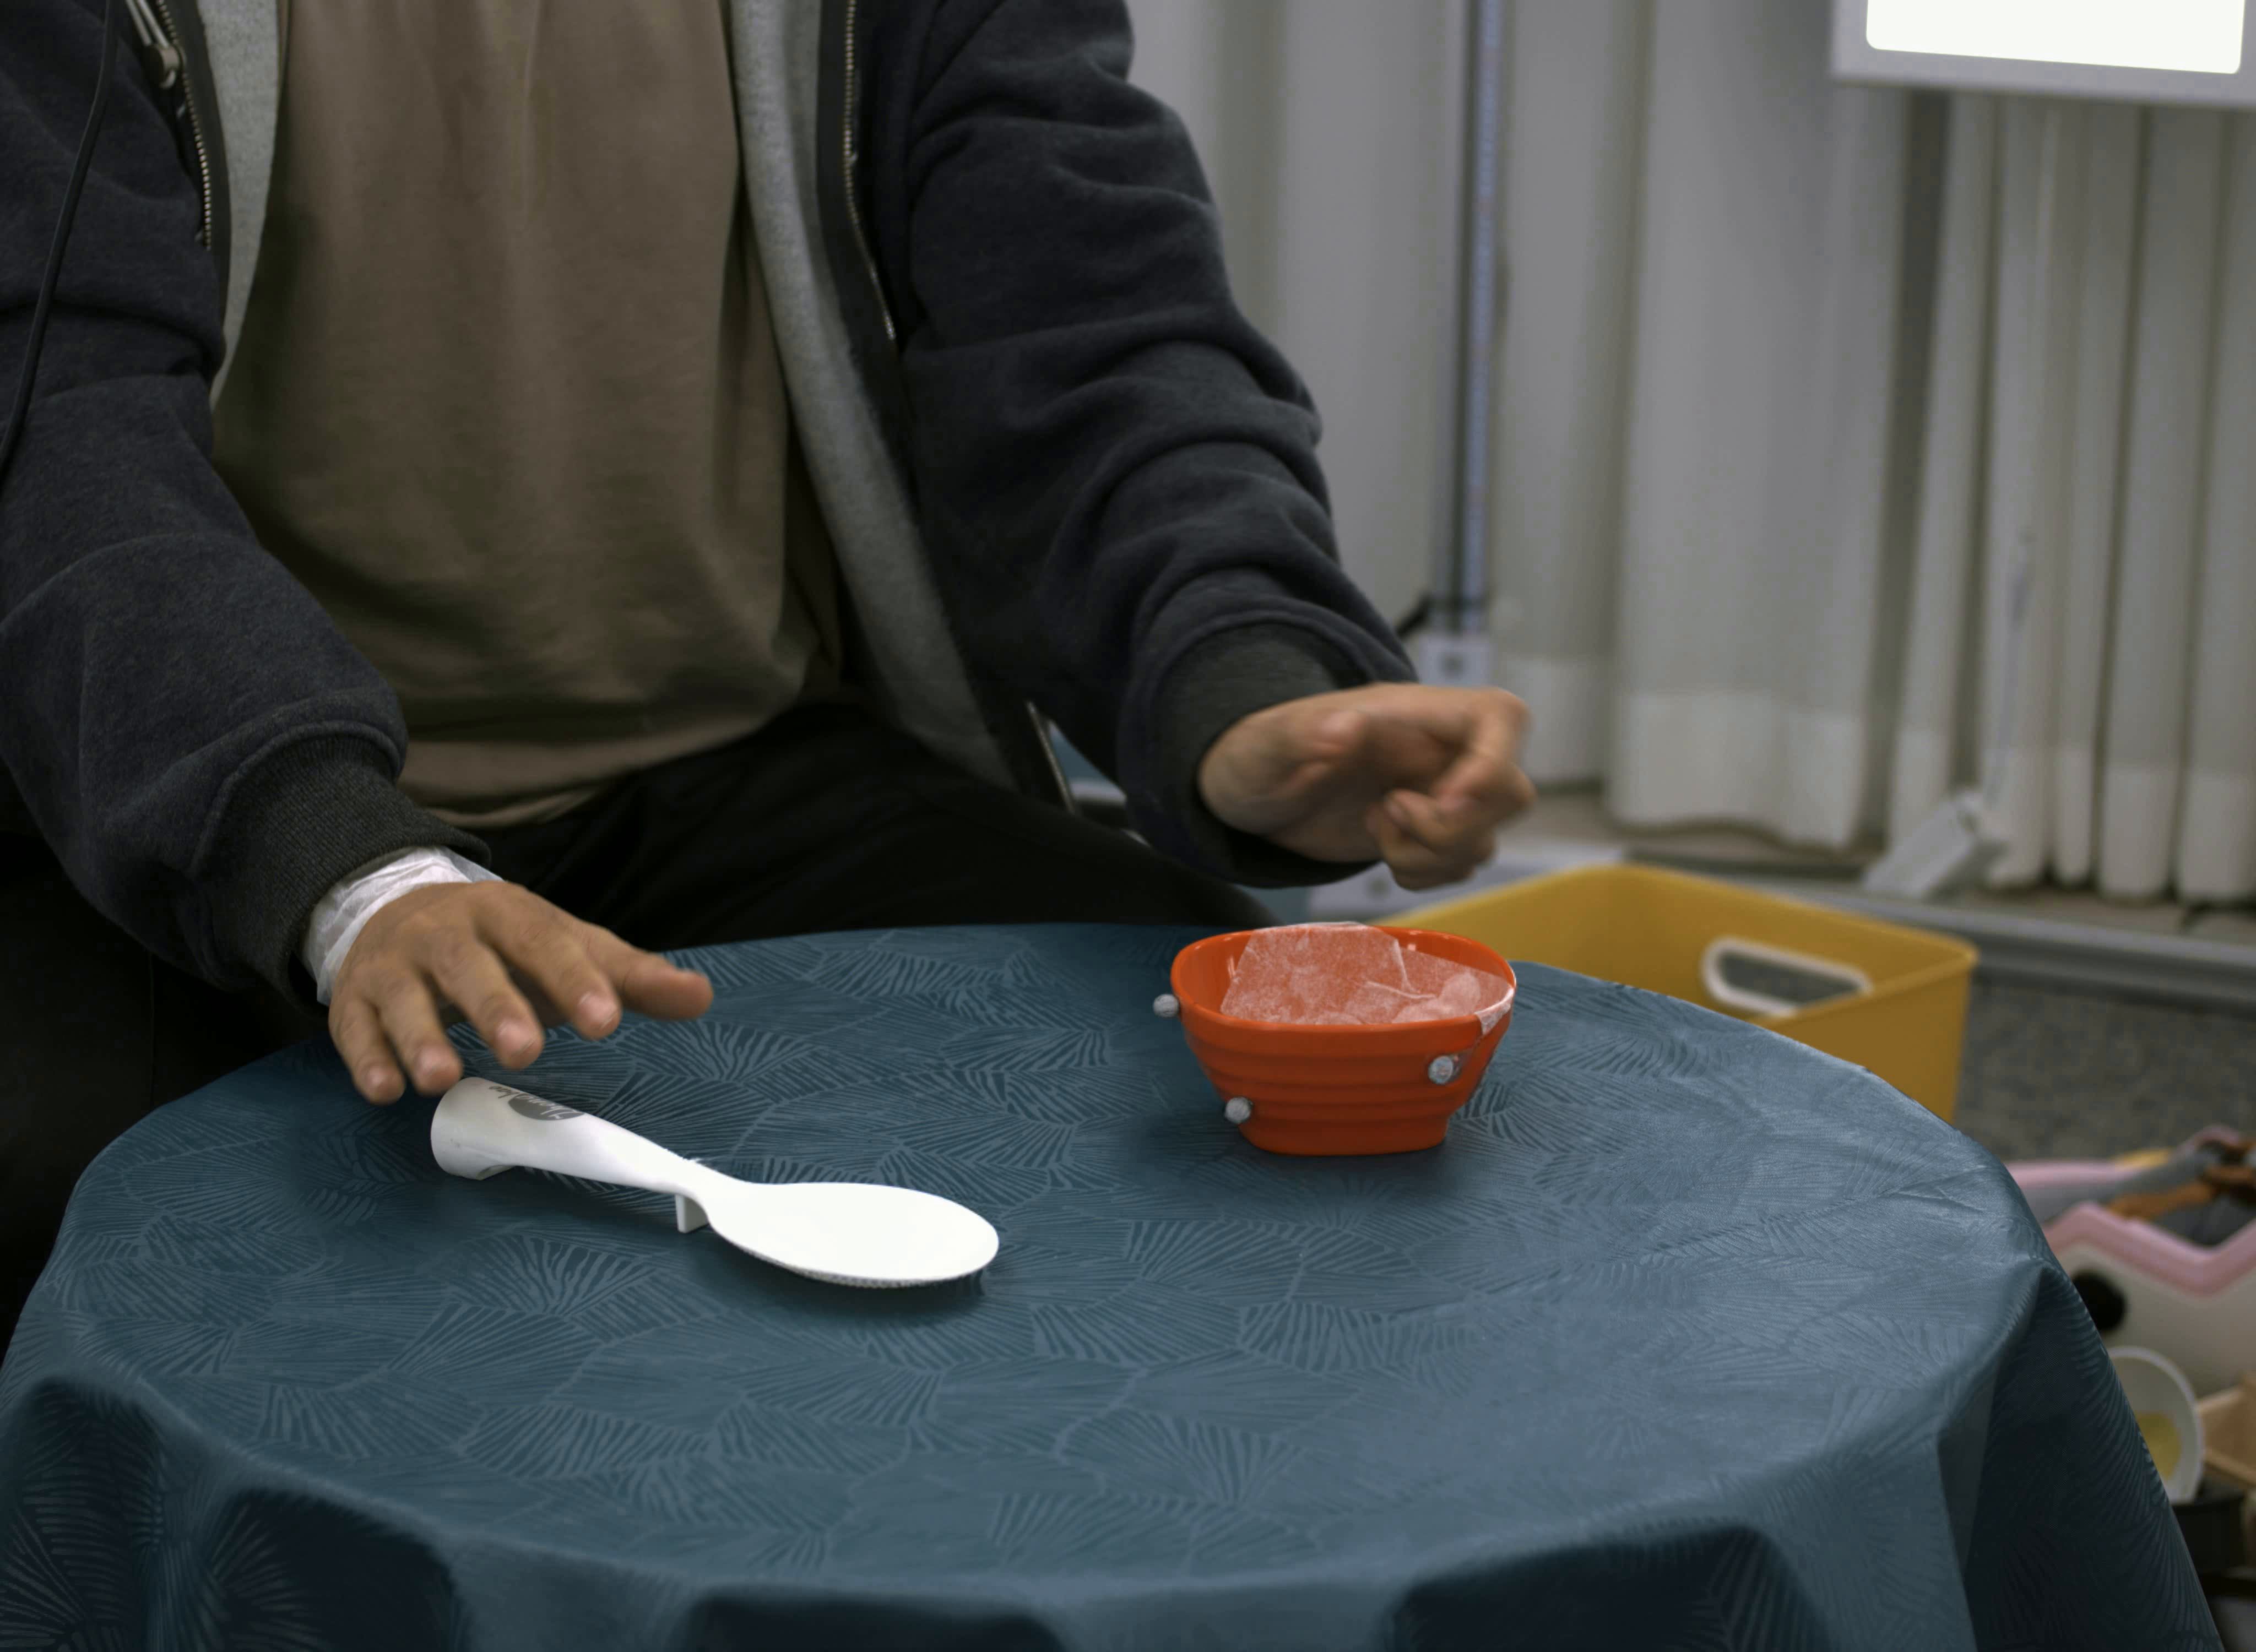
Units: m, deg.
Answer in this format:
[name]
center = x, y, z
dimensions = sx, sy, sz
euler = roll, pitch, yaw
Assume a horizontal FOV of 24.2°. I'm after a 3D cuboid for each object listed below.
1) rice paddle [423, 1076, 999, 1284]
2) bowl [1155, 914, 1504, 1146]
[rice paddle]
center = -0.126, 0.108, 1.579
dimensions = 0.202, 0.029, 0.069
euler = 11, 21, 33
[bowl]
center = 0.064, 0.067, 1.679
dimensions = 0.118, 0.052, 0.118
euler = -1, 16, 1
